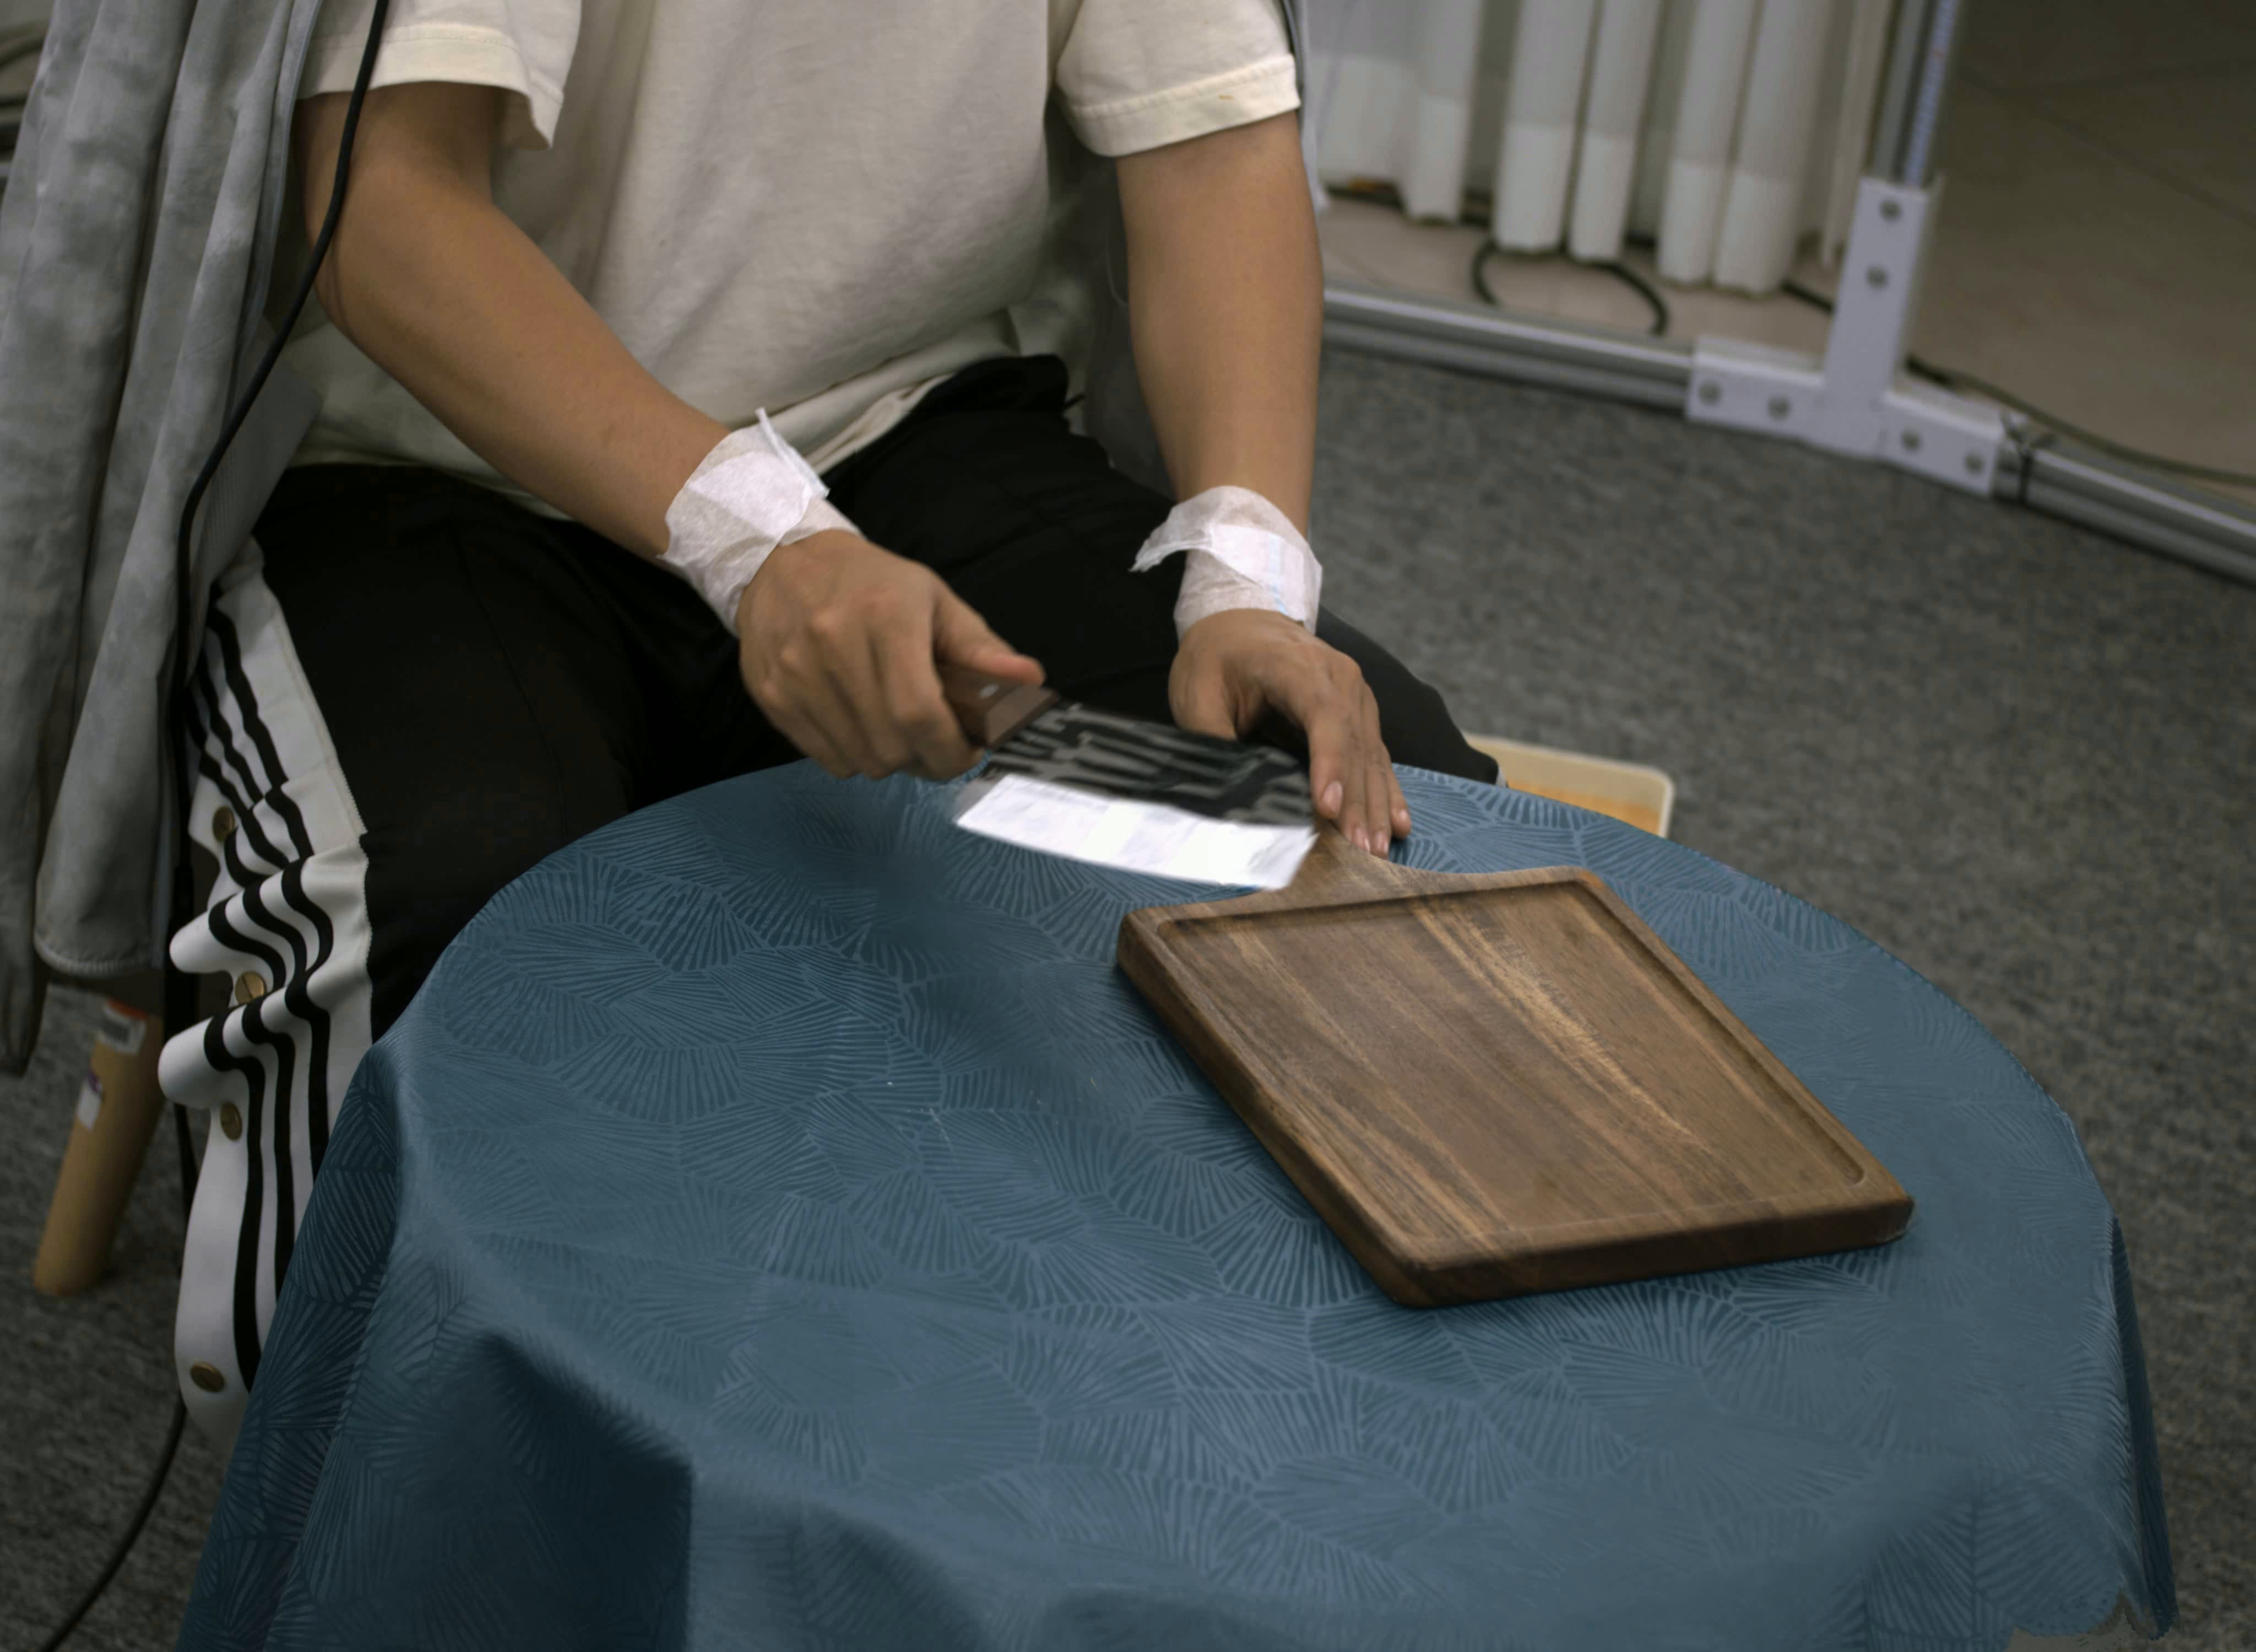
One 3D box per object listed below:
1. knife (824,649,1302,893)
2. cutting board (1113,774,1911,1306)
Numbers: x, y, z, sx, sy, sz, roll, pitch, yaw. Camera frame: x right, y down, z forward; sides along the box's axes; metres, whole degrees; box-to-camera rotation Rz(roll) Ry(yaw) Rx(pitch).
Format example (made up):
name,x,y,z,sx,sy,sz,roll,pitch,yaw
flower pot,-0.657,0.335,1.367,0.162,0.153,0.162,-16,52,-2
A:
name,x,y,z,sx,sy,sz,roll,pitch,yaw
knife,-0.031,-0.019,1.894,0.068,0.024,0.301,-44,34,-23
cutting board,0.112,0.064,1.925,0.200,0.023,0.355,-6,29,-23
